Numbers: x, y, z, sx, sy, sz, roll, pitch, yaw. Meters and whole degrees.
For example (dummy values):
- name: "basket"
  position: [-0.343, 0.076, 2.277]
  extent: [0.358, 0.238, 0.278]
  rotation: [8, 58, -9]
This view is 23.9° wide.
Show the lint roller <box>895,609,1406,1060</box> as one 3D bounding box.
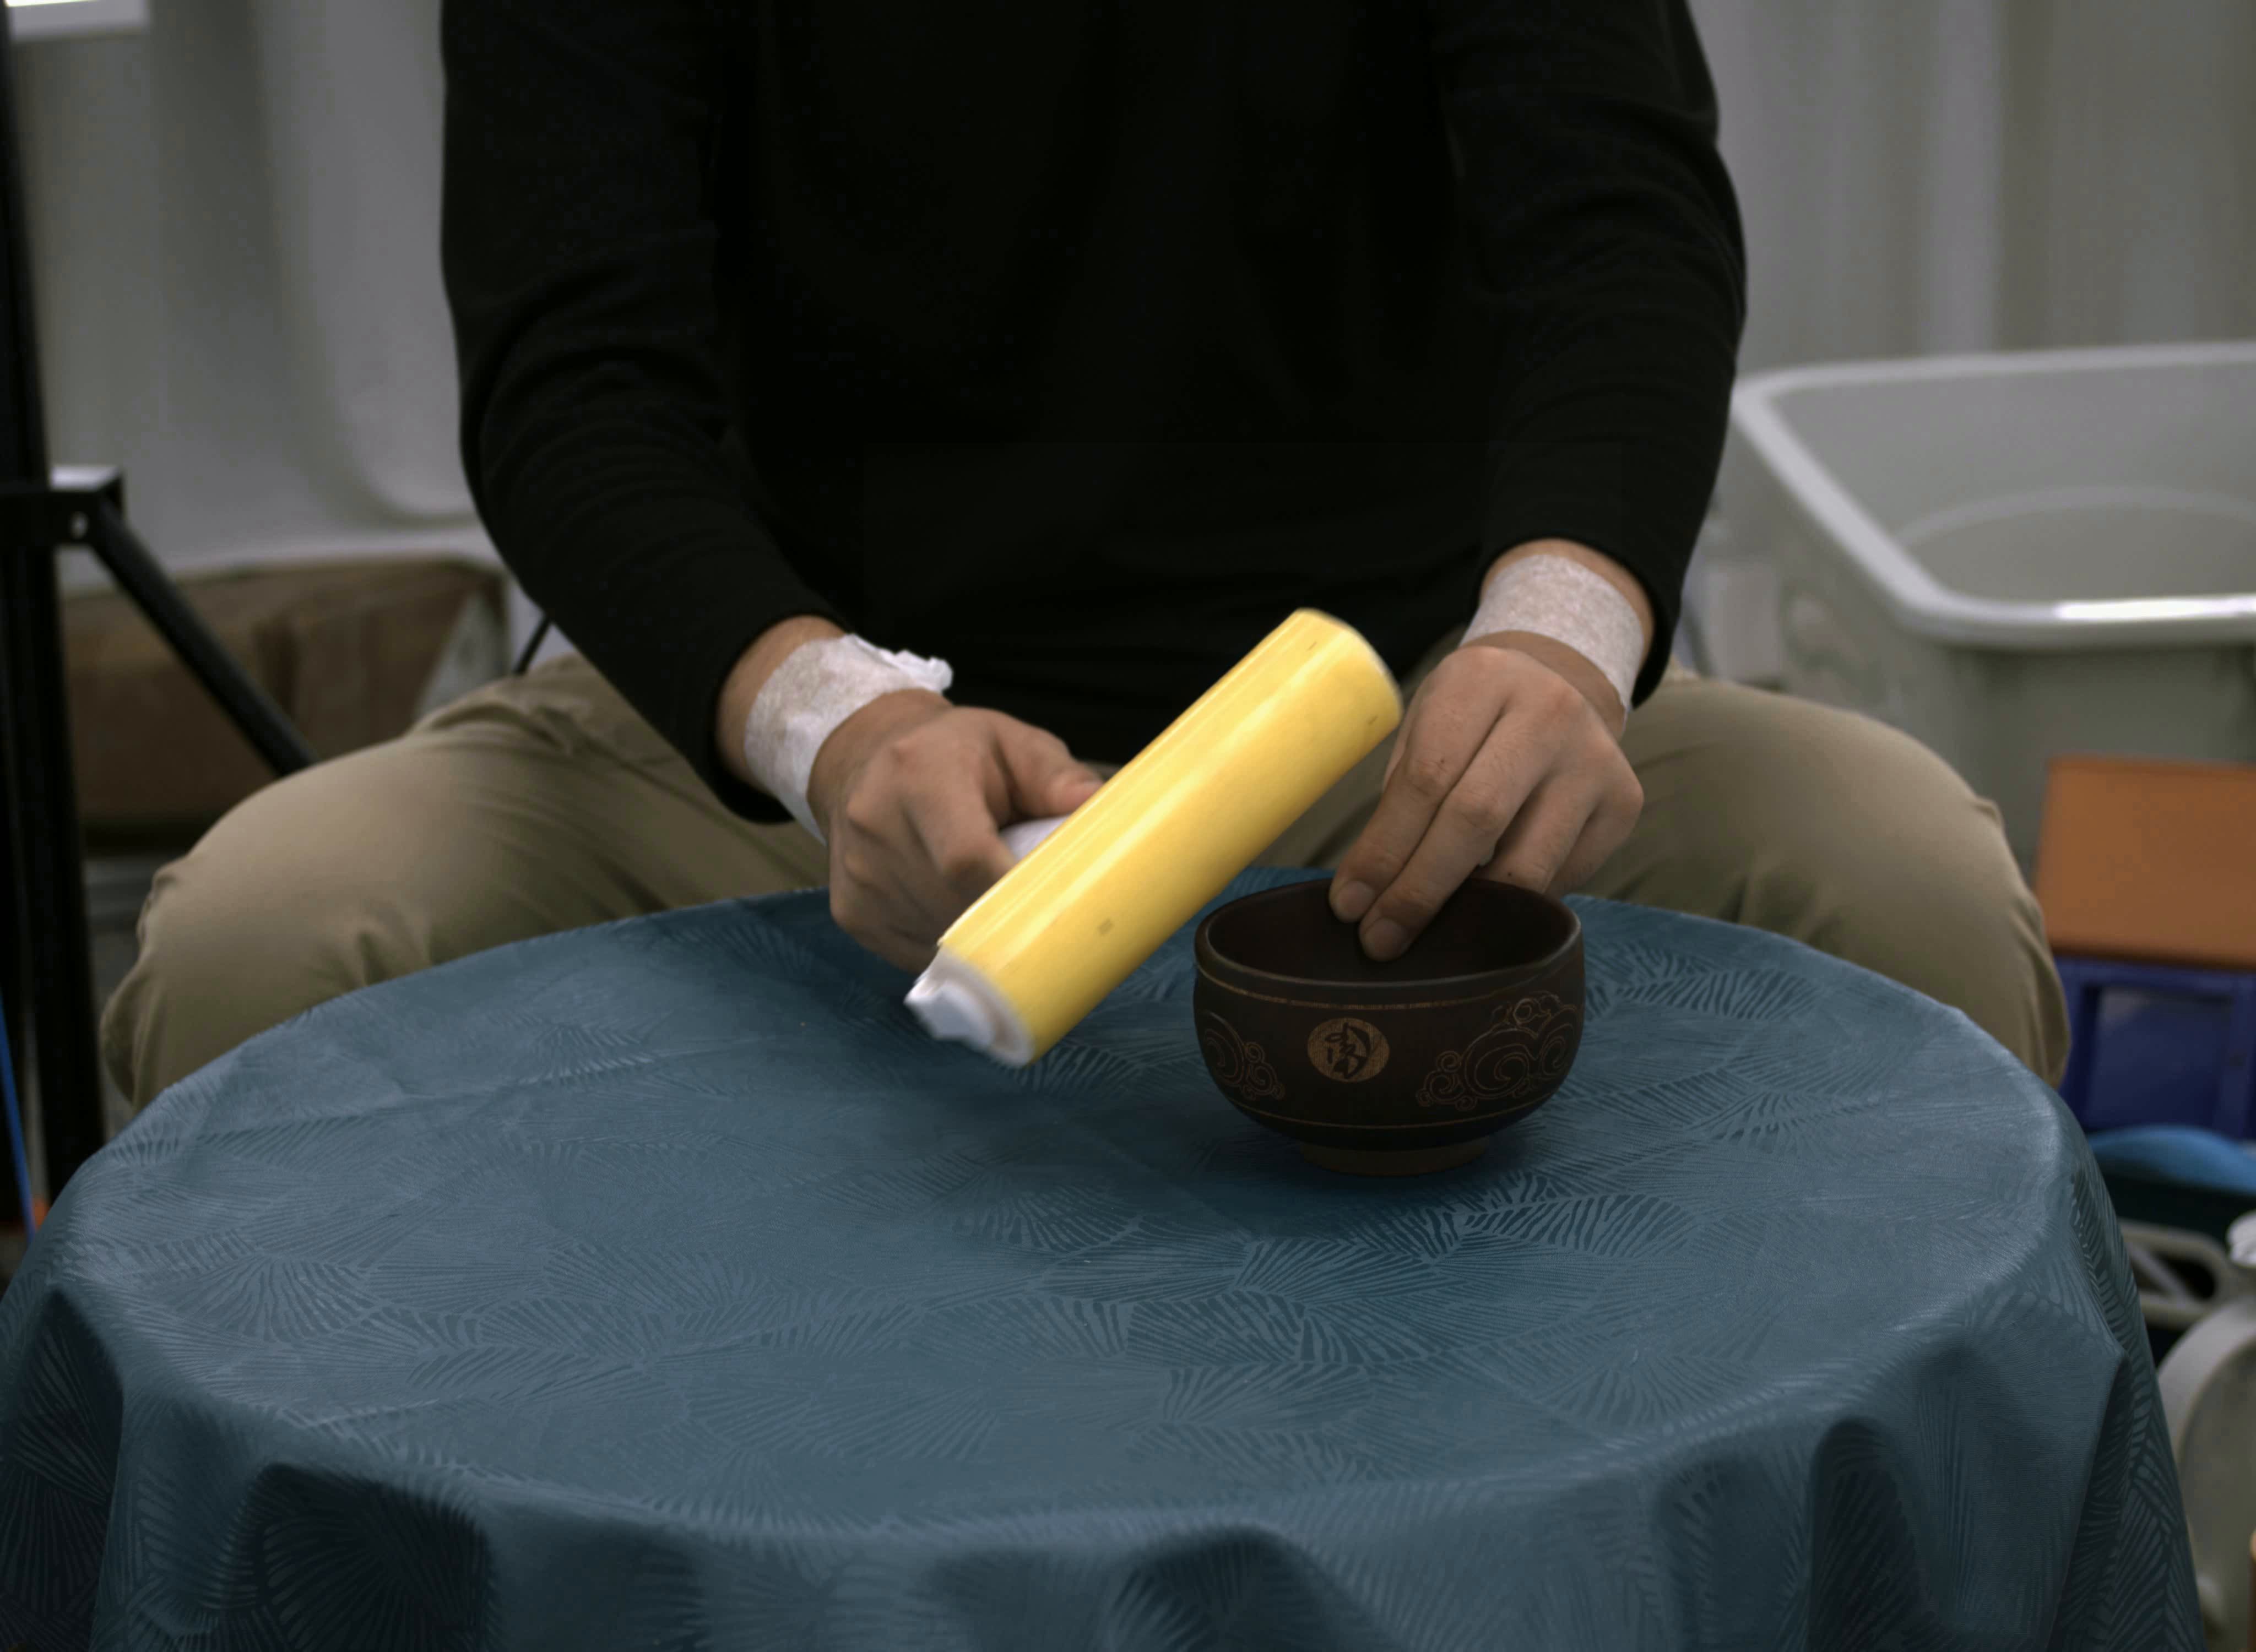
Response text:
- name: "lint roller"
  position: [-0.026, -0.001, 1.650]
  extent: [0.172, 0.051, 0.196]
  rotation: [-43, 25, -23]

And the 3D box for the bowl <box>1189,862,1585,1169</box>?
- name: "bowl"
  position: [0.077, 0.060, 1.576]
  extent: [0.117, 0.070, 0.118]
  rotation: [-1, 16, -1]
